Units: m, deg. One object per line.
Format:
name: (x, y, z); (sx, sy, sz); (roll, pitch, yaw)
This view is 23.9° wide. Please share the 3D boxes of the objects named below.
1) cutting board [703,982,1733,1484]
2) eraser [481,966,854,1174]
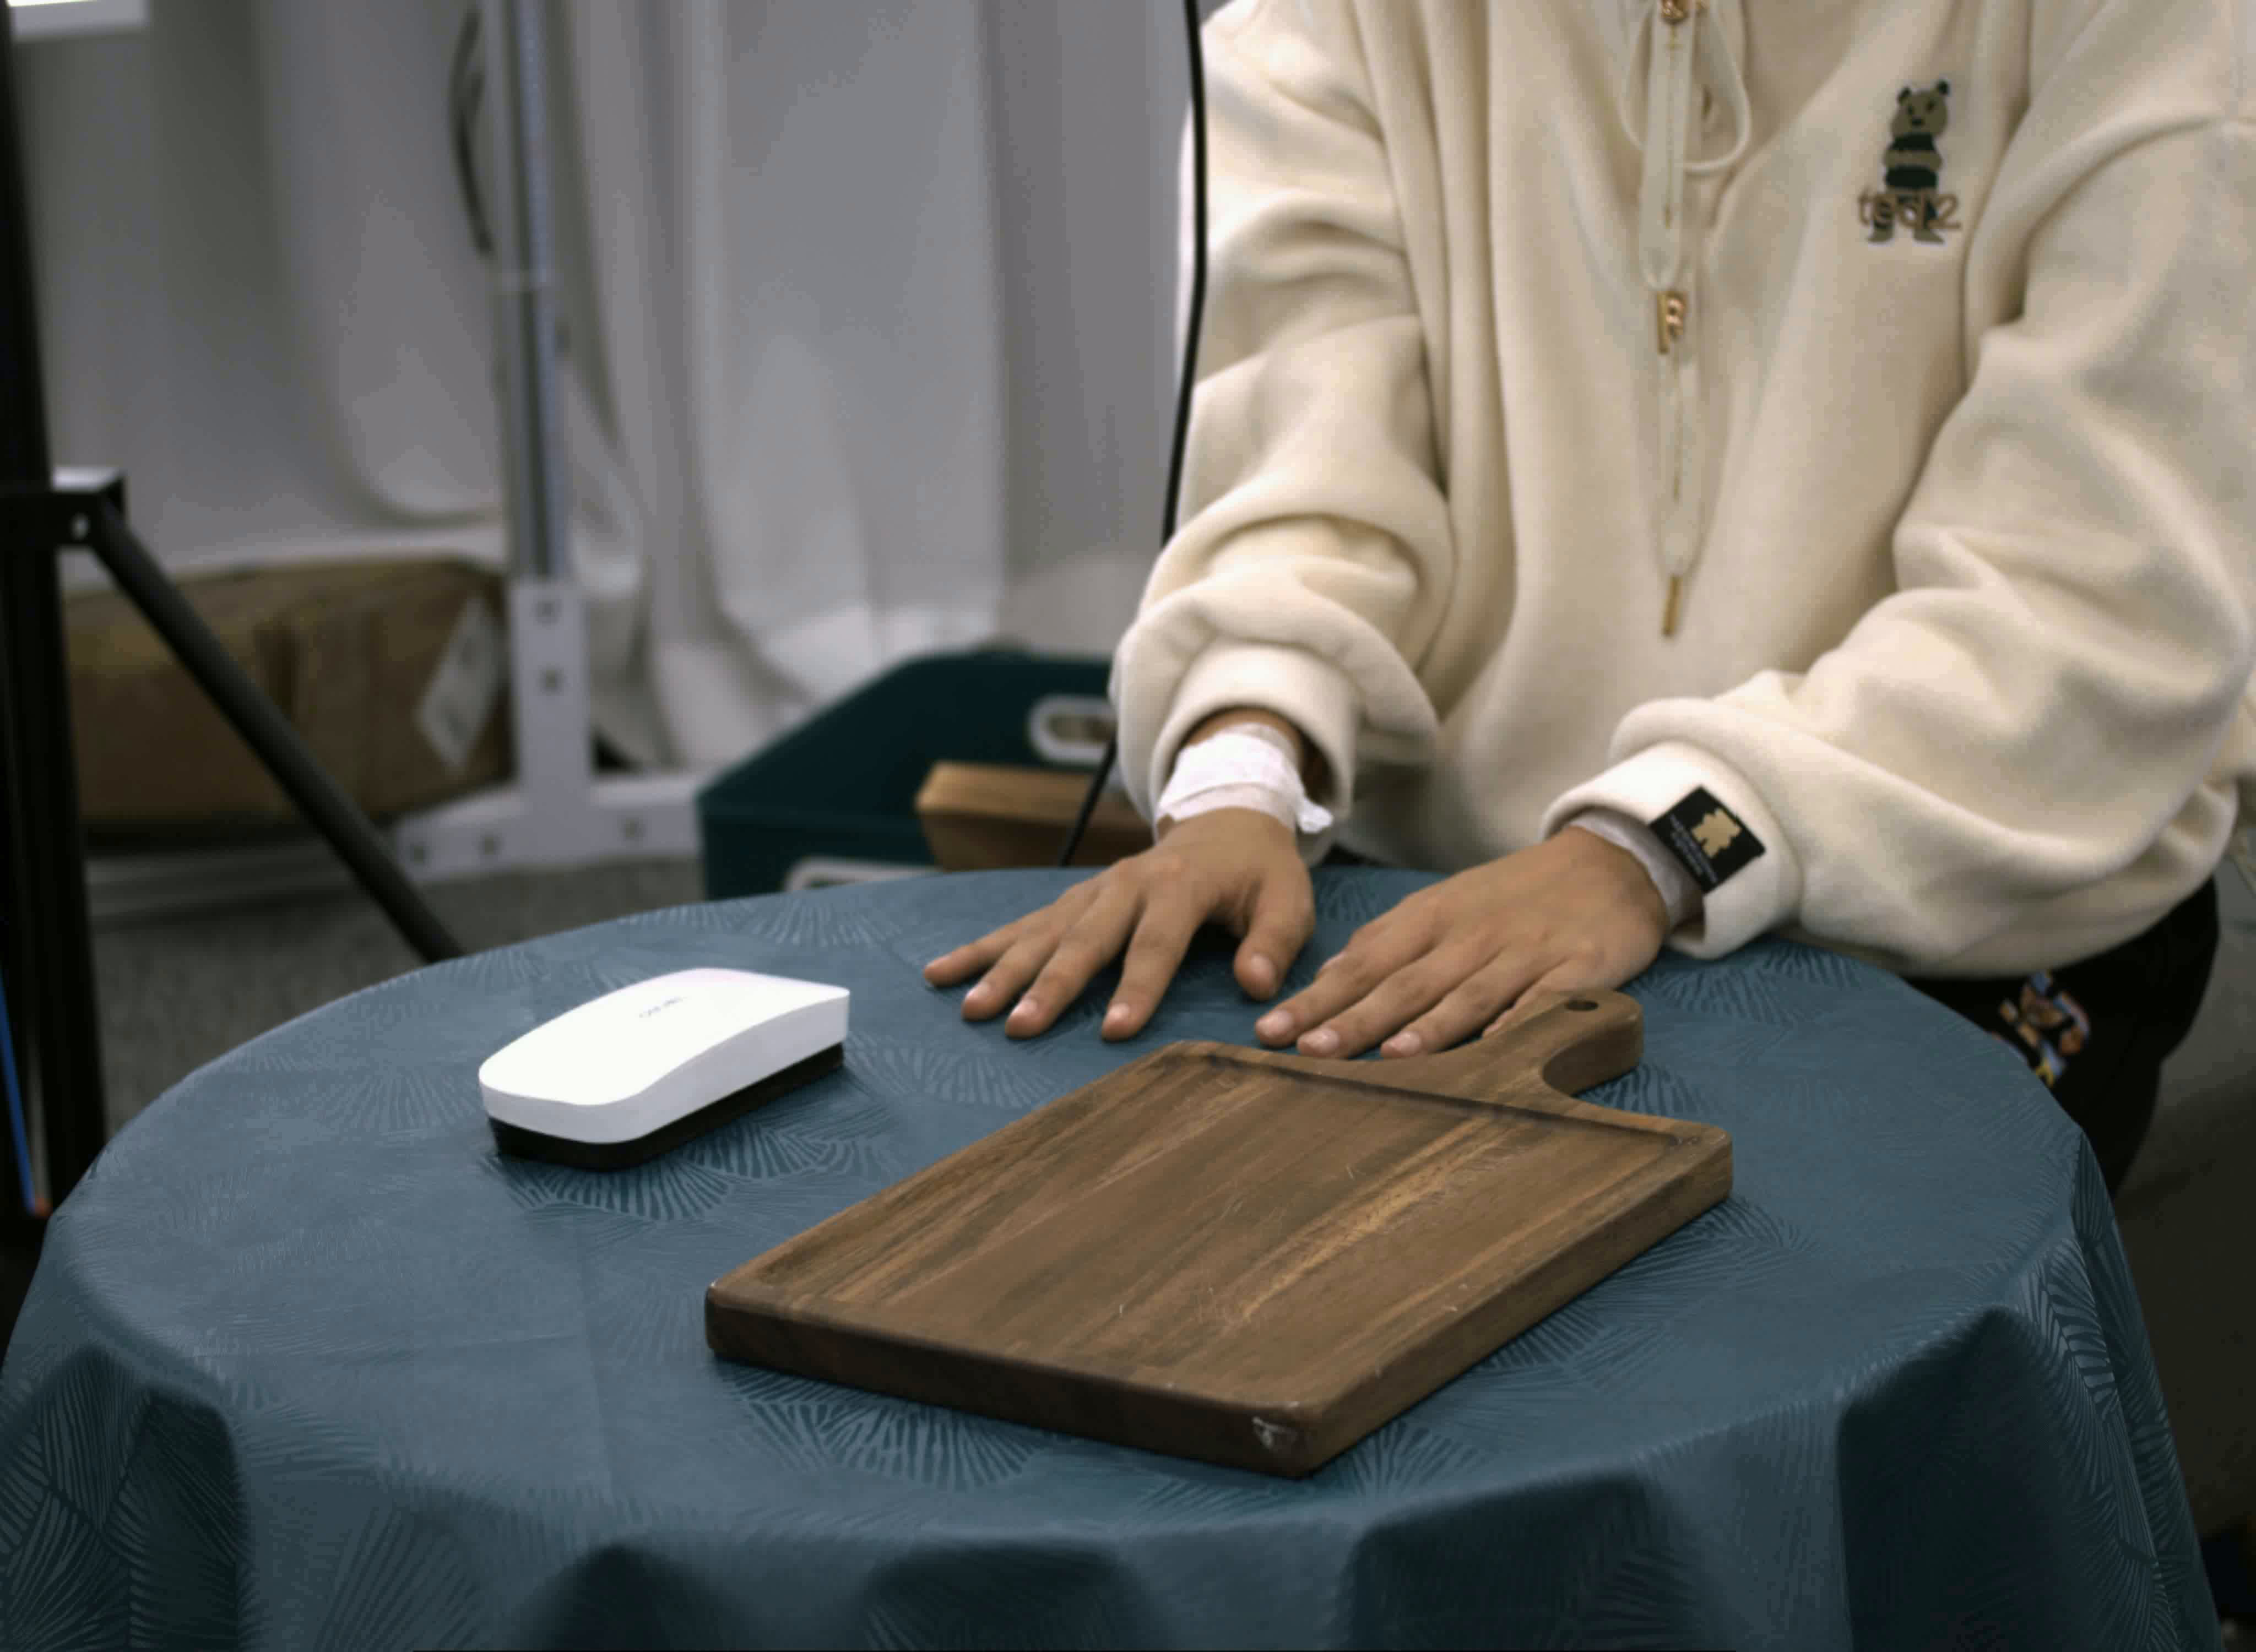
cutting board: (0.056, 0.103, 1.525); (0.205, 0.023, 0.345); (8, 19, 32)
eraser: (-0.140, 0.072, 1.653); (0.064, 0.034, 0.129); (8, 19, 34)
